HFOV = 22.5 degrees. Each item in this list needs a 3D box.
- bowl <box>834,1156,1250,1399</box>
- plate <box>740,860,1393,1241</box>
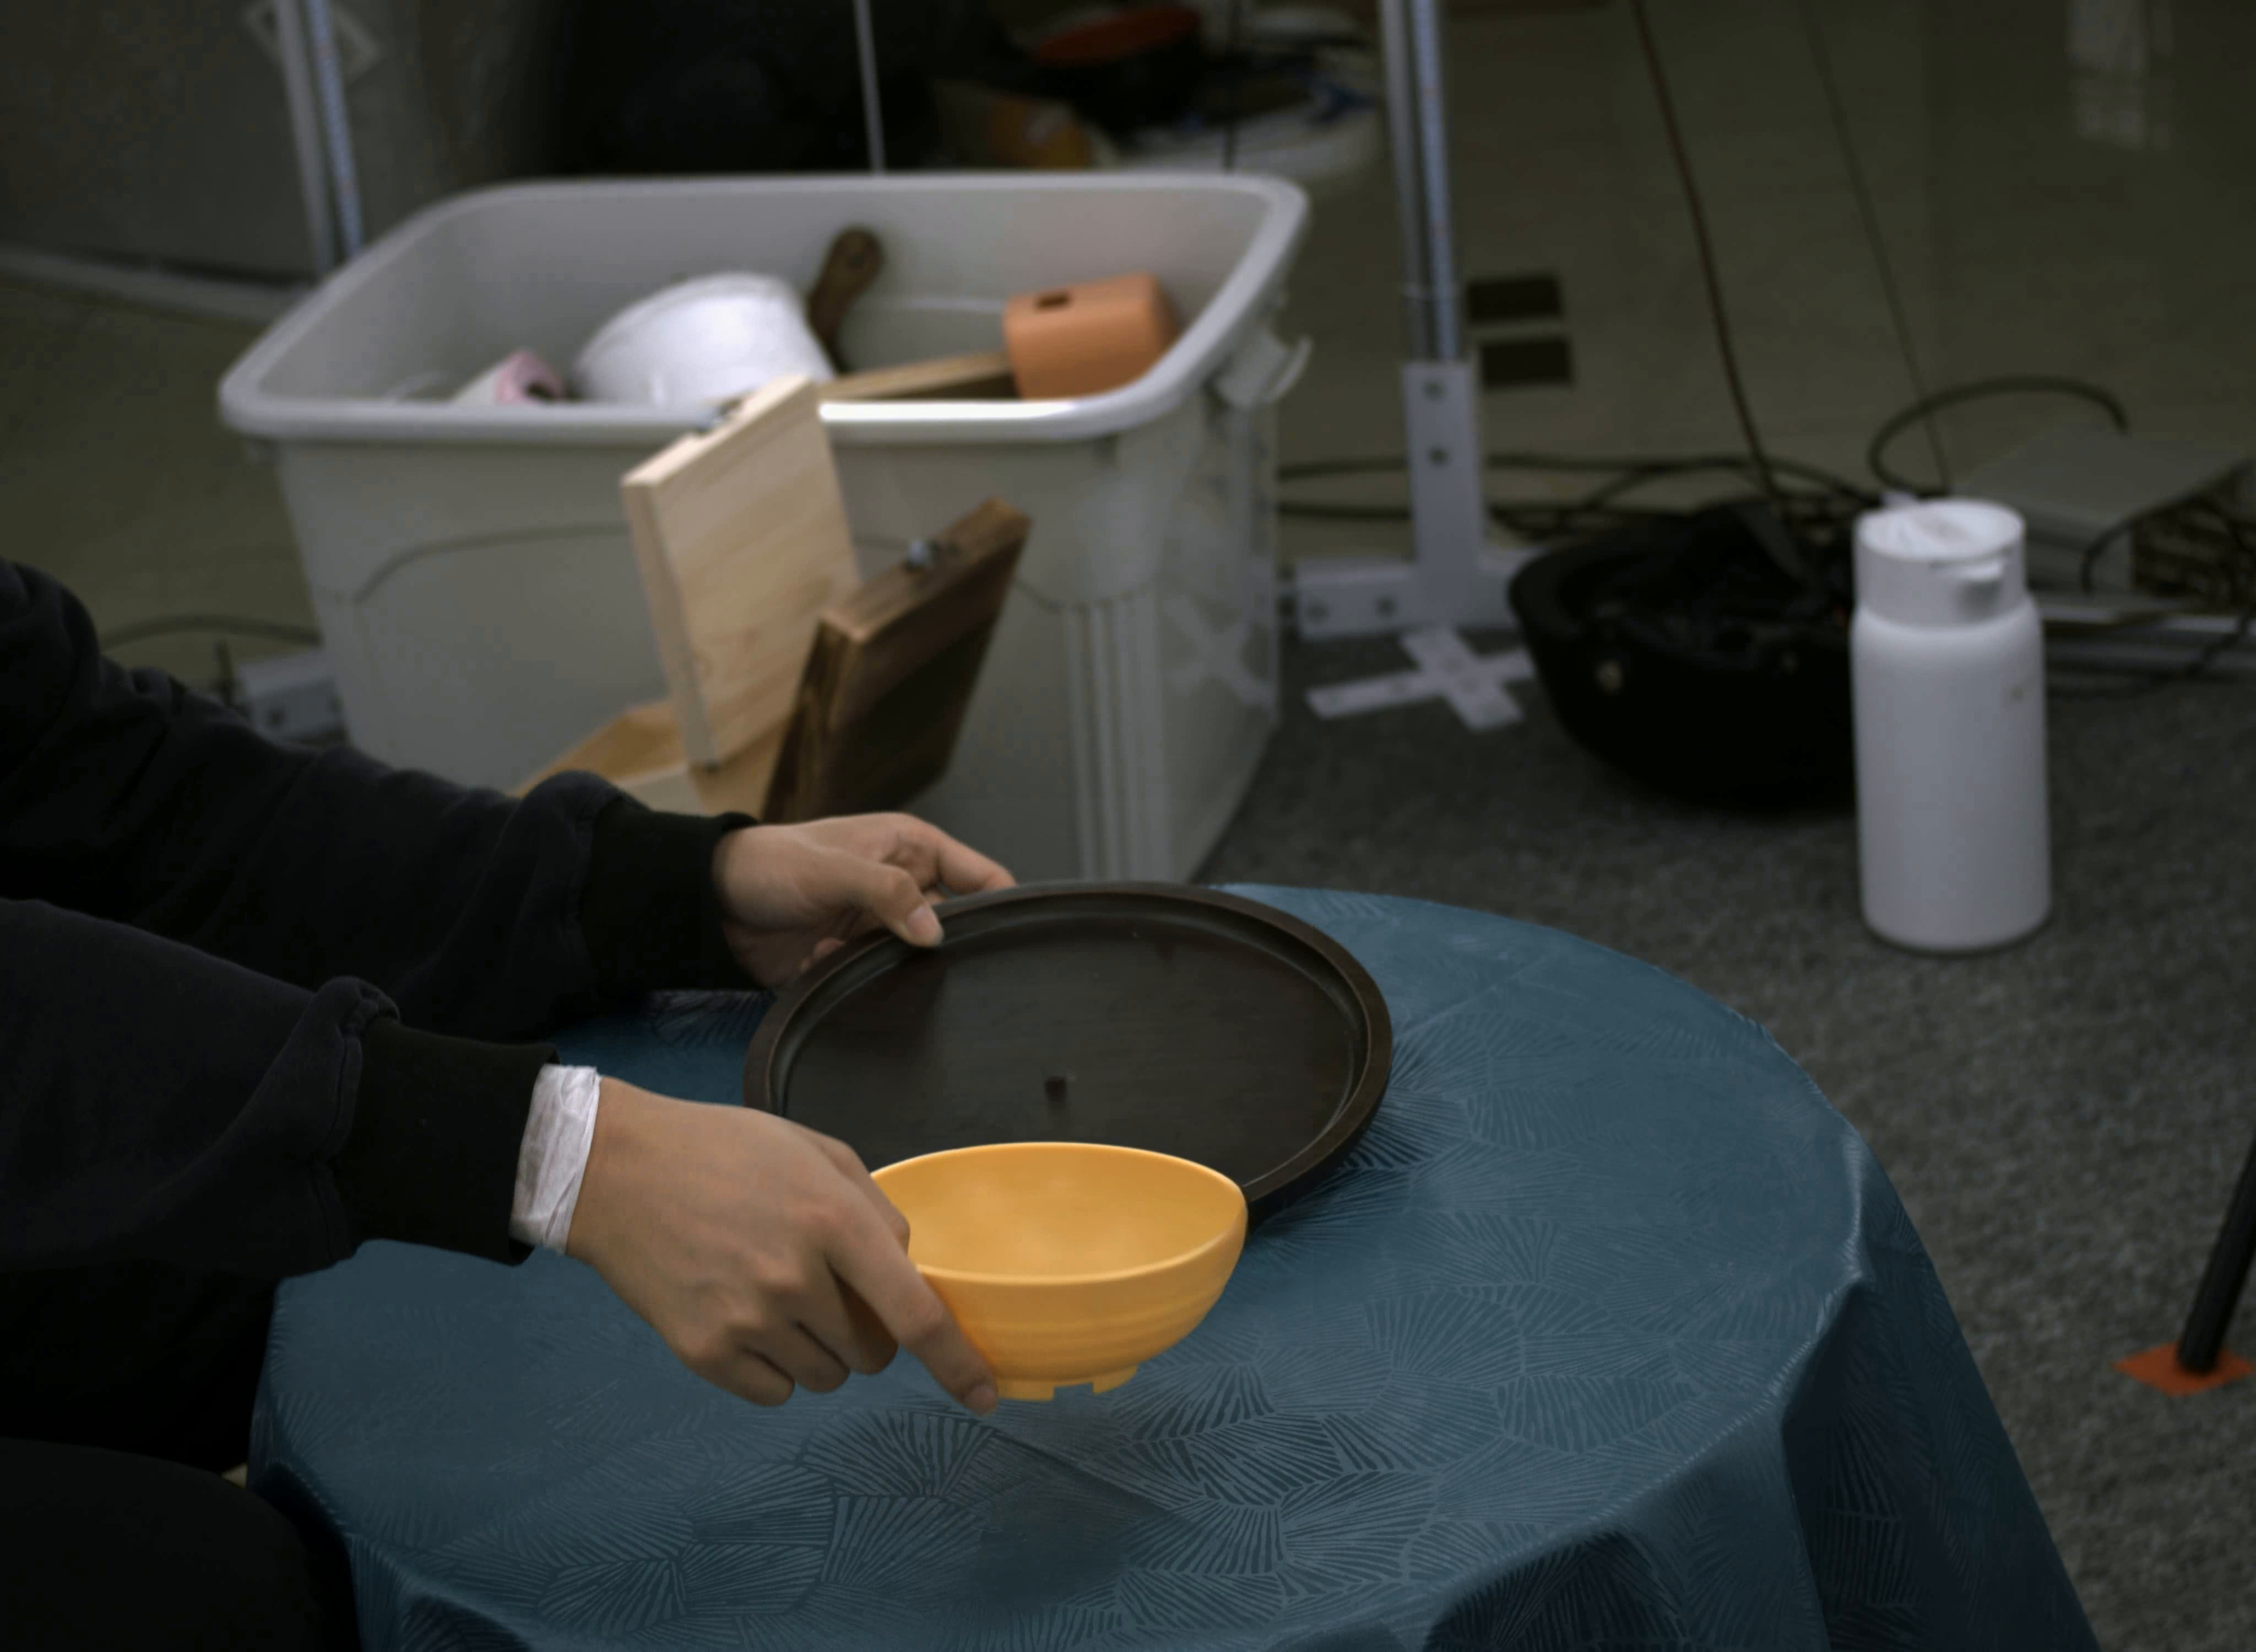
[{"bbox_3d":[-0.029,0.160,1.959,0.145,0.061,0.144,-1,13,0],"label":"bowl"},{"bbox_3d":[-0.023,0.096,2.189,0.254,0.029,0.250,-4,34,3],"label":"plate"}]
